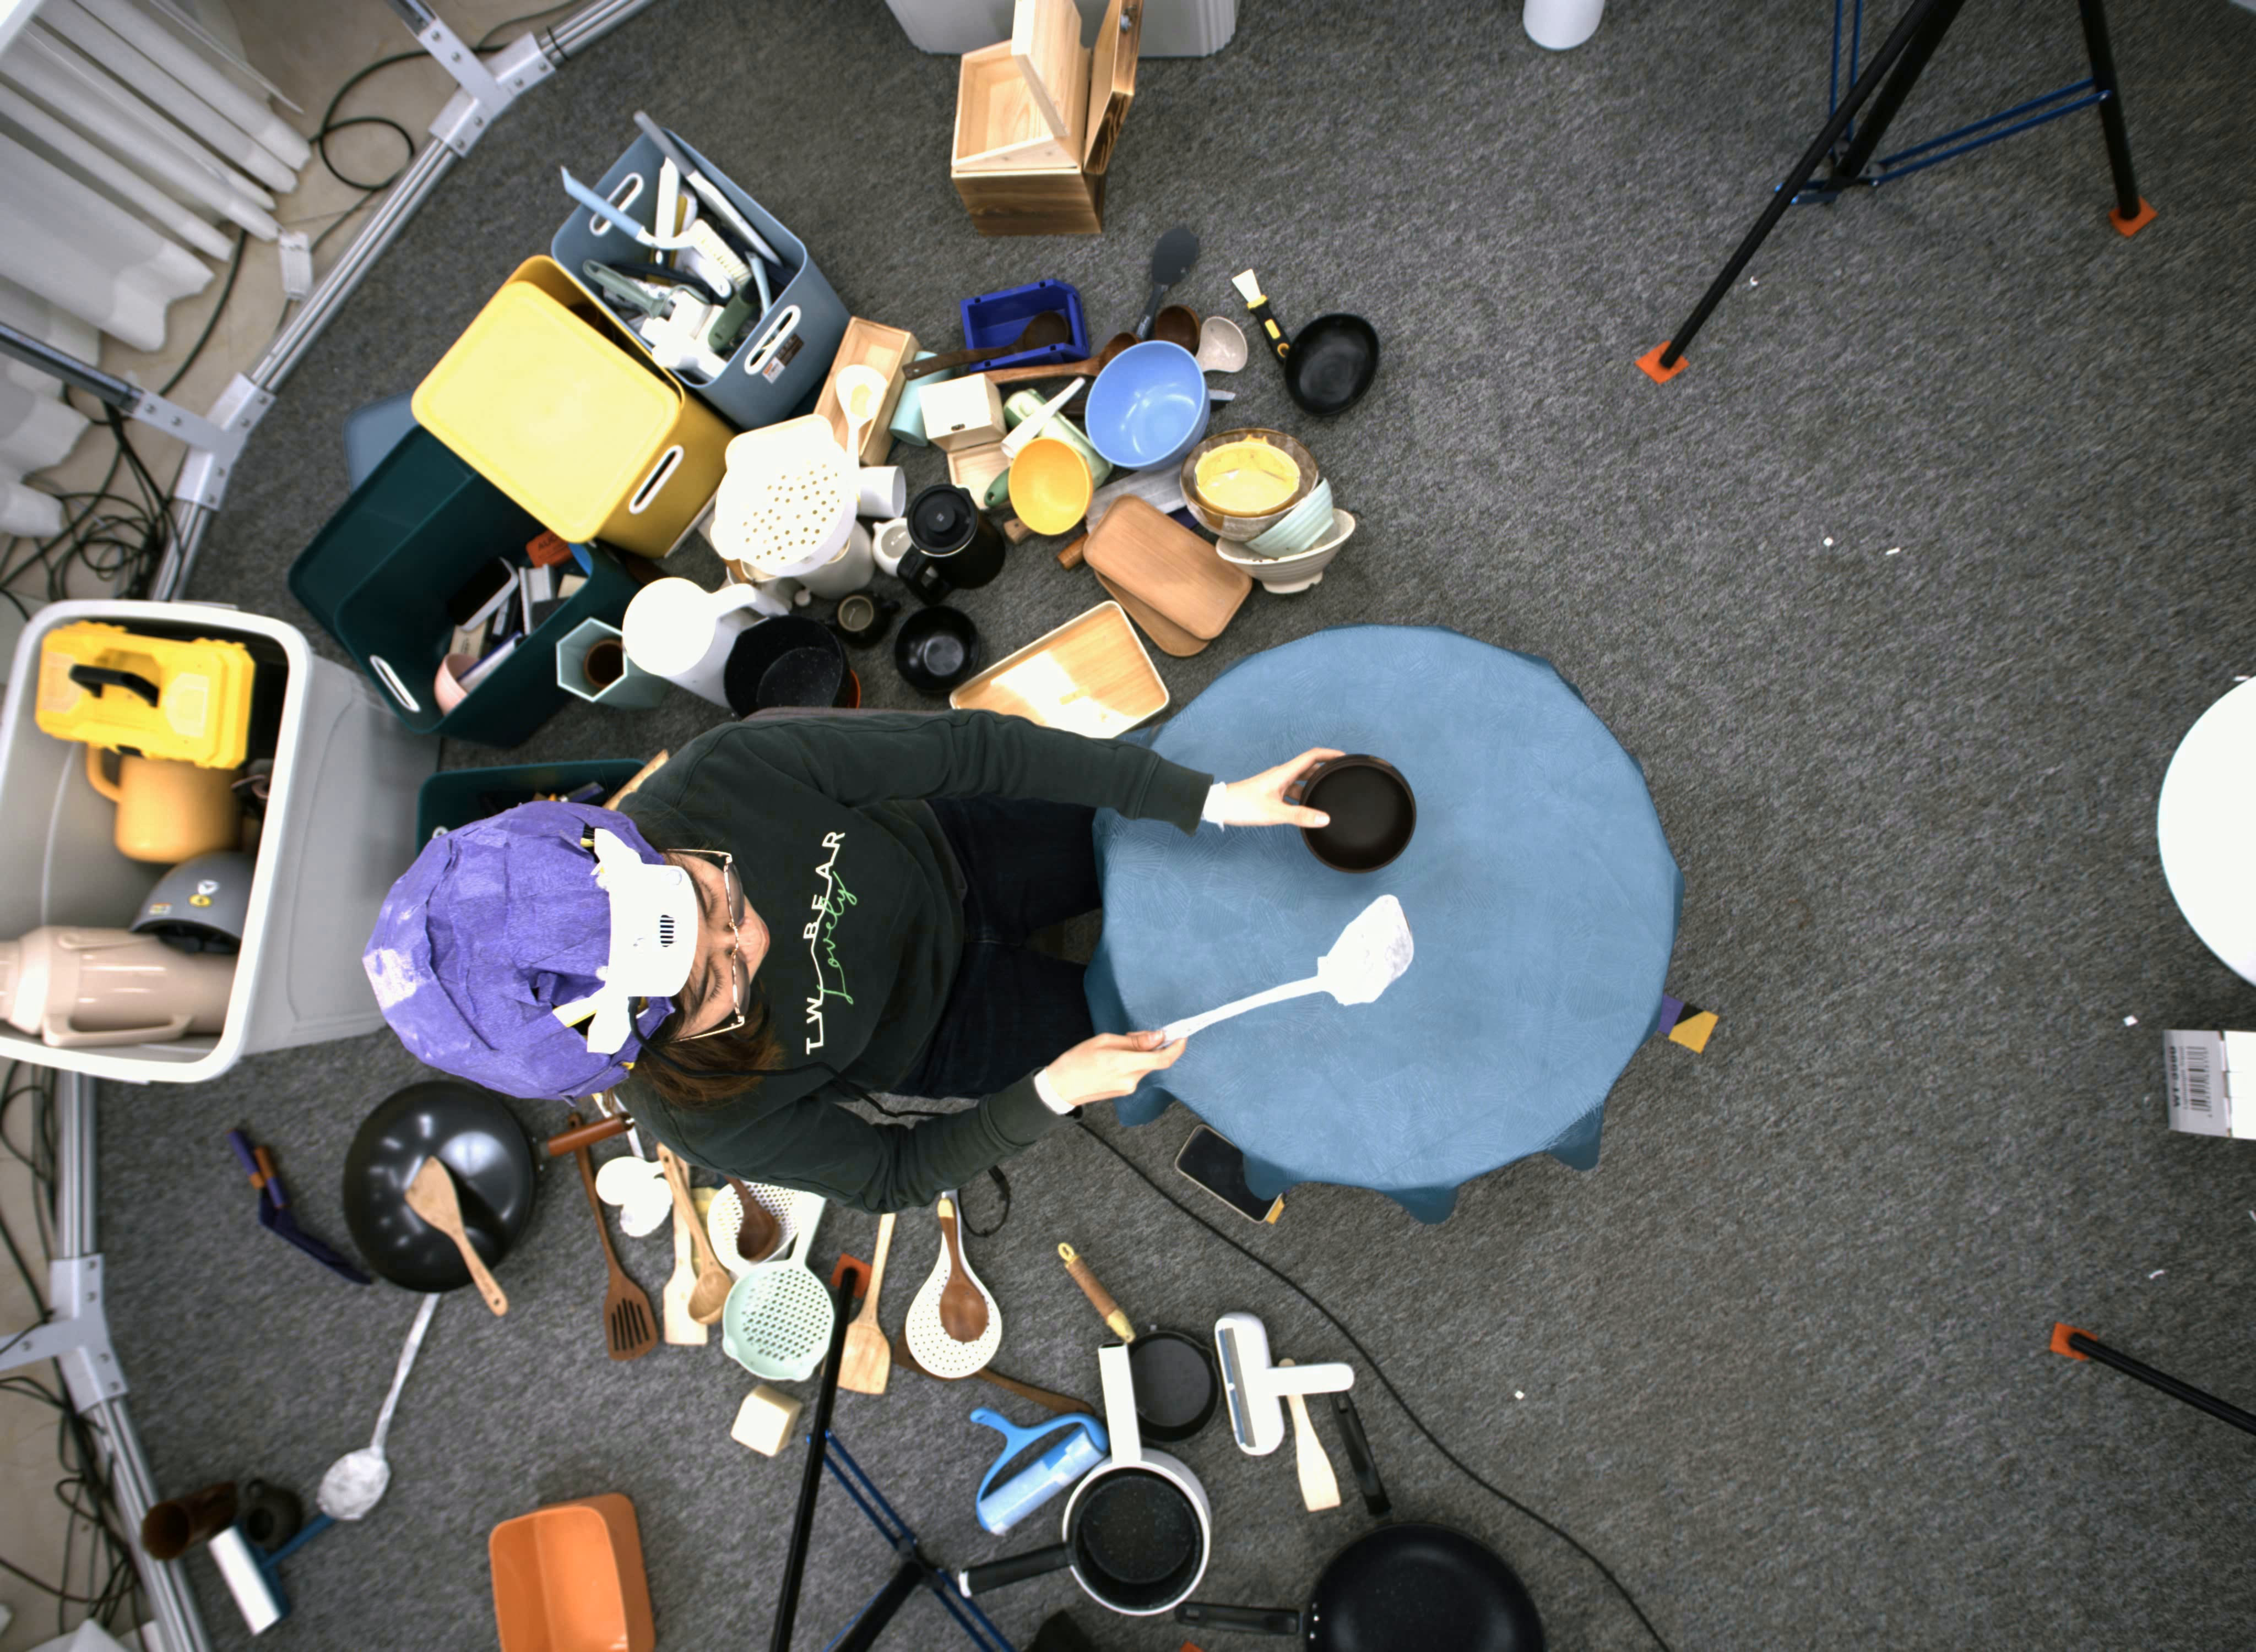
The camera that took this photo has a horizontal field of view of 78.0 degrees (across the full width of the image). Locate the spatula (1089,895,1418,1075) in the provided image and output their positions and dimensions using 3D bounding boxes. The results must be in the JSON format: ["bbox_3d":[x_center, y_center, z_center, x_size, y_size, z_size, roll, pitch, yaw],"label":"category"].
[{"bbox_3d":[0.112,0.170,1.342,0.369,0.045,0.096,-23,43,17],"label":"spatula"}]

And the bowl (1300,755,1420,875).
[{"bbox_3d":[0.232,-0.017,1.383,0.118,0.068,0.120,3,108,8],"label":"bowl"}]
